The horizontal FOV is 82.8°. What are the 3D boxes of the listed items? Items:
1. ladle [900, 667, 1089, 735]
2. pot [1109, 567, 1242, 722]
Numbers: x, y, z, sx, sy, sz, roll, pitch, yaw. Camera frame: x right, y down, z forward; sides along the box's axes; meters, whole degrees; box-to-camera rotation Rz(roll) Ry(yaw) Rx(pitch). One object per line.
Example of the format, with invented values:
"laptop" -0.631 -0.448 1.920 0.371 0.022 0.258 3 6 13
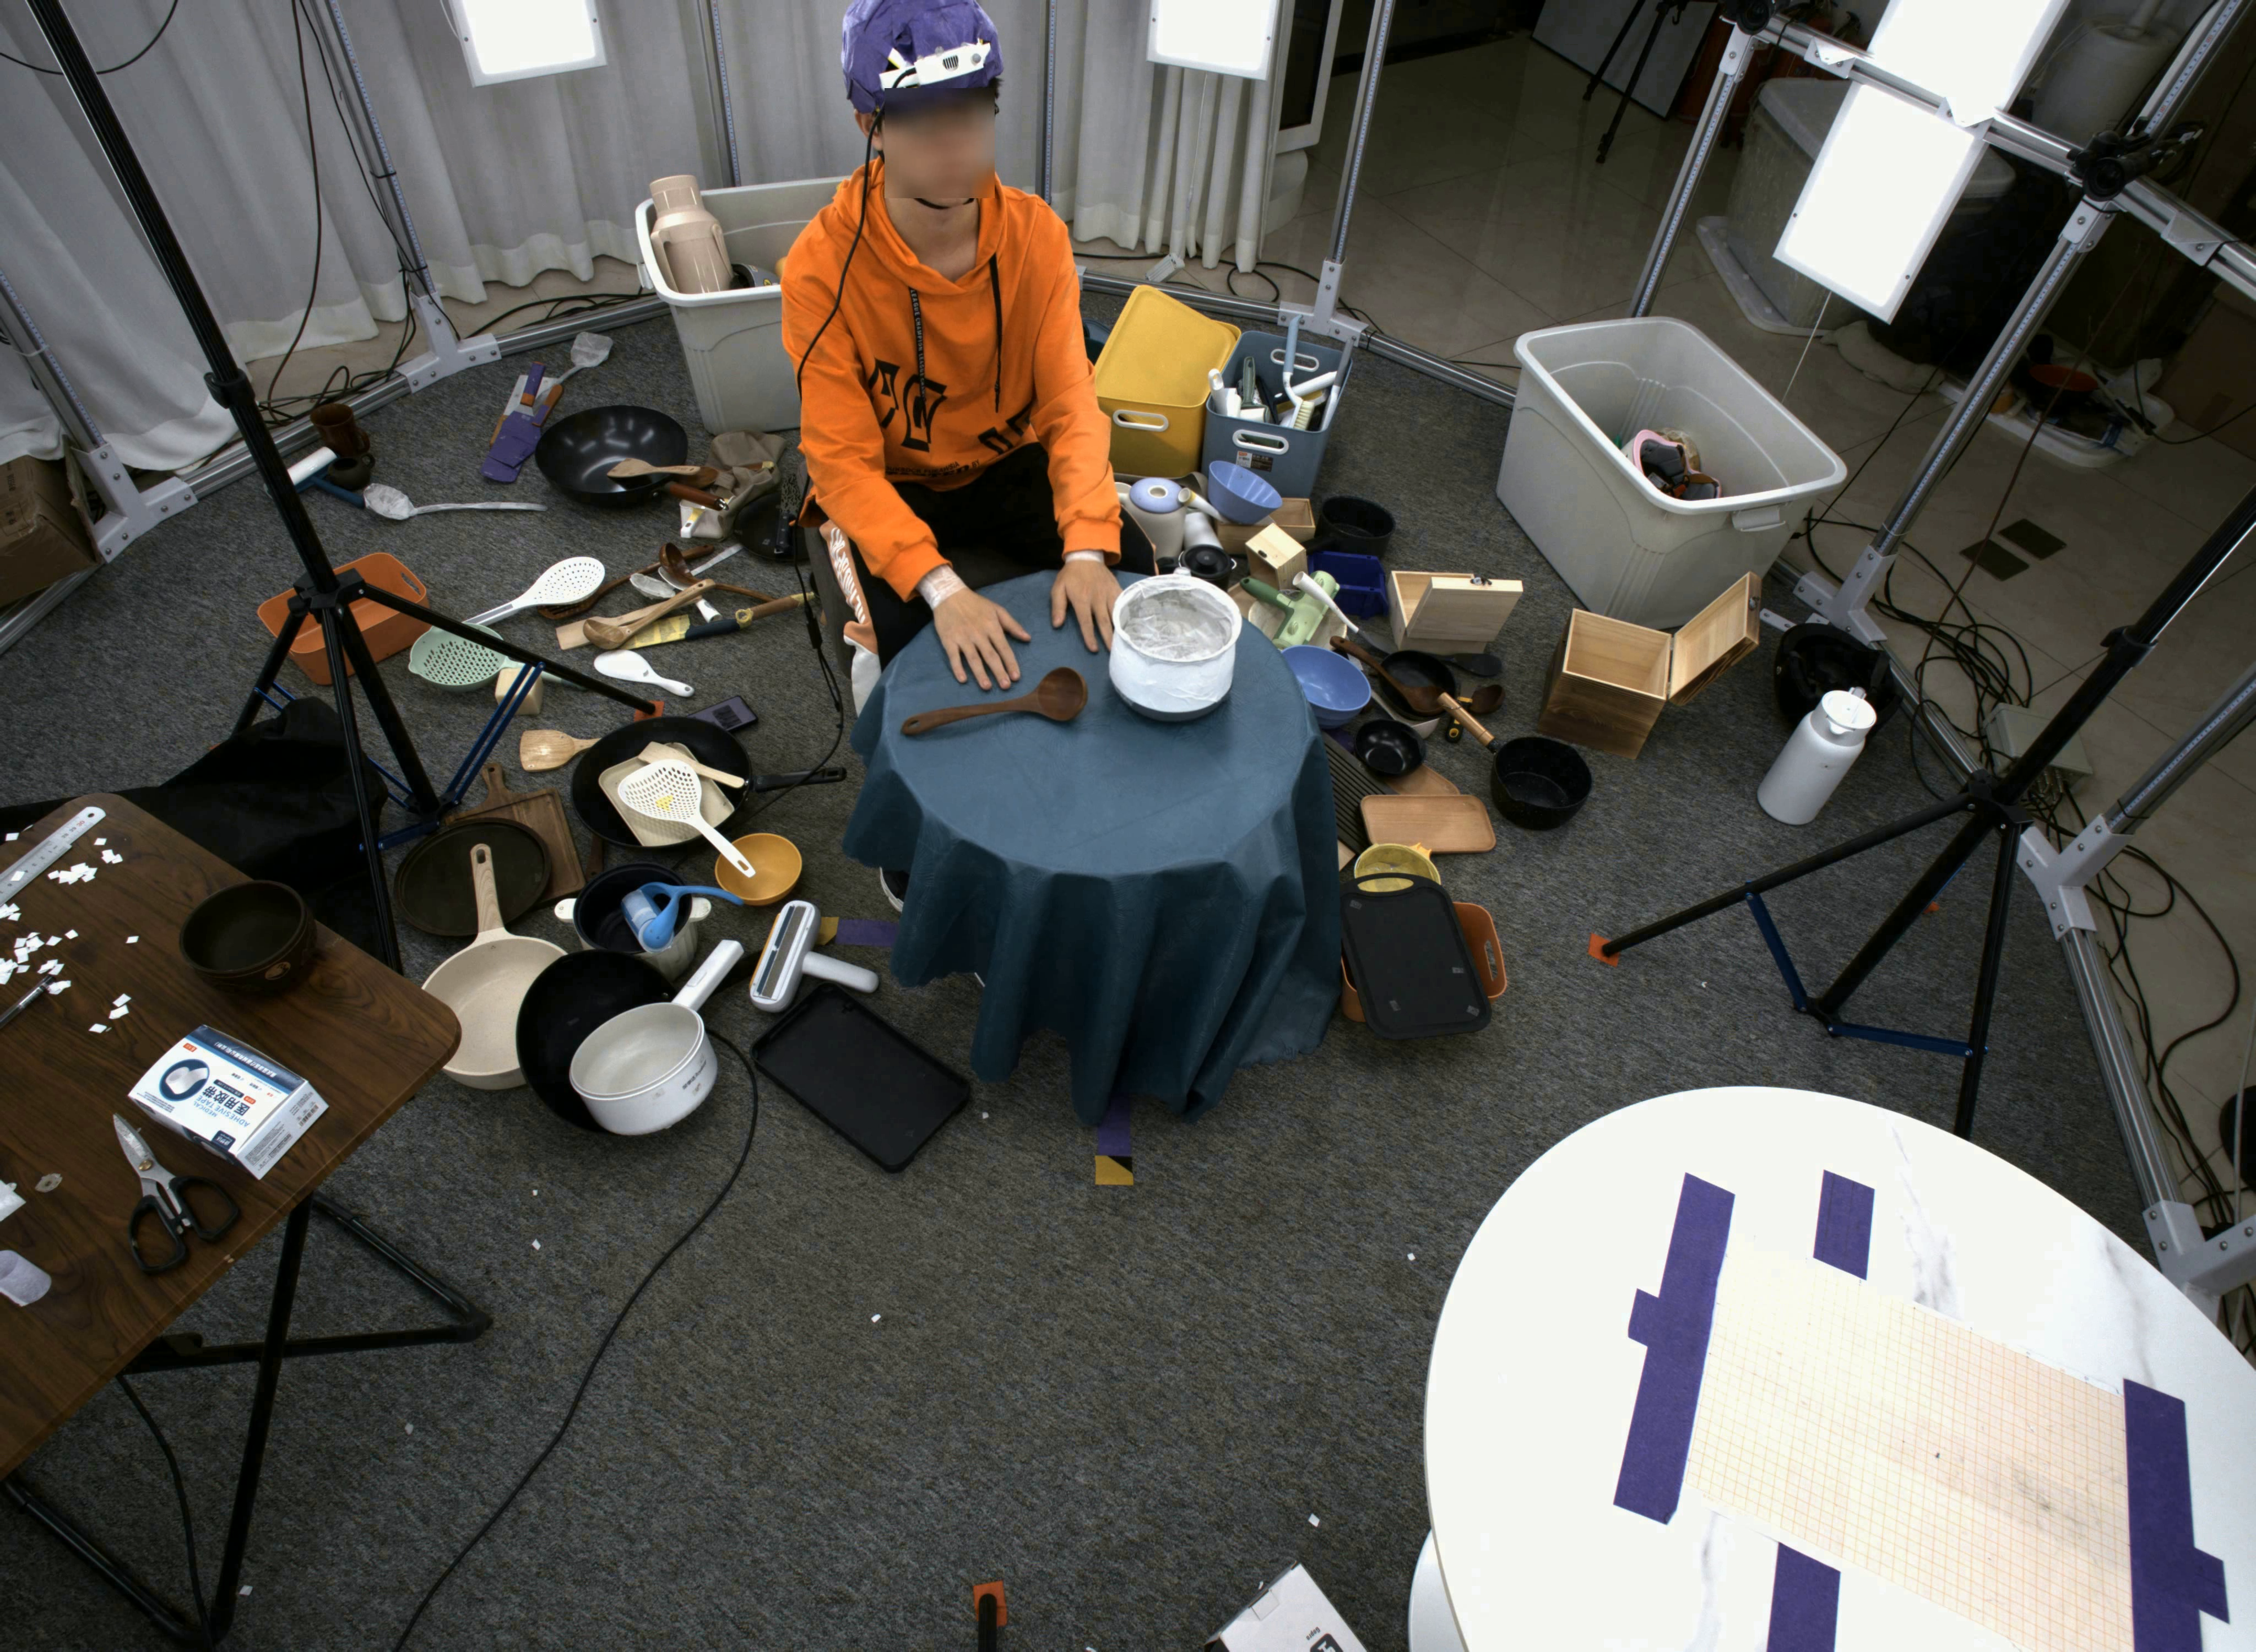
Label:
"ladle" -0.182 -0.164 1.760 0.260 0.064 0.077 -11 72 -14
"pot" 0.066 -0.267 1.816 0.178 0.133 0.239 6 49 0
